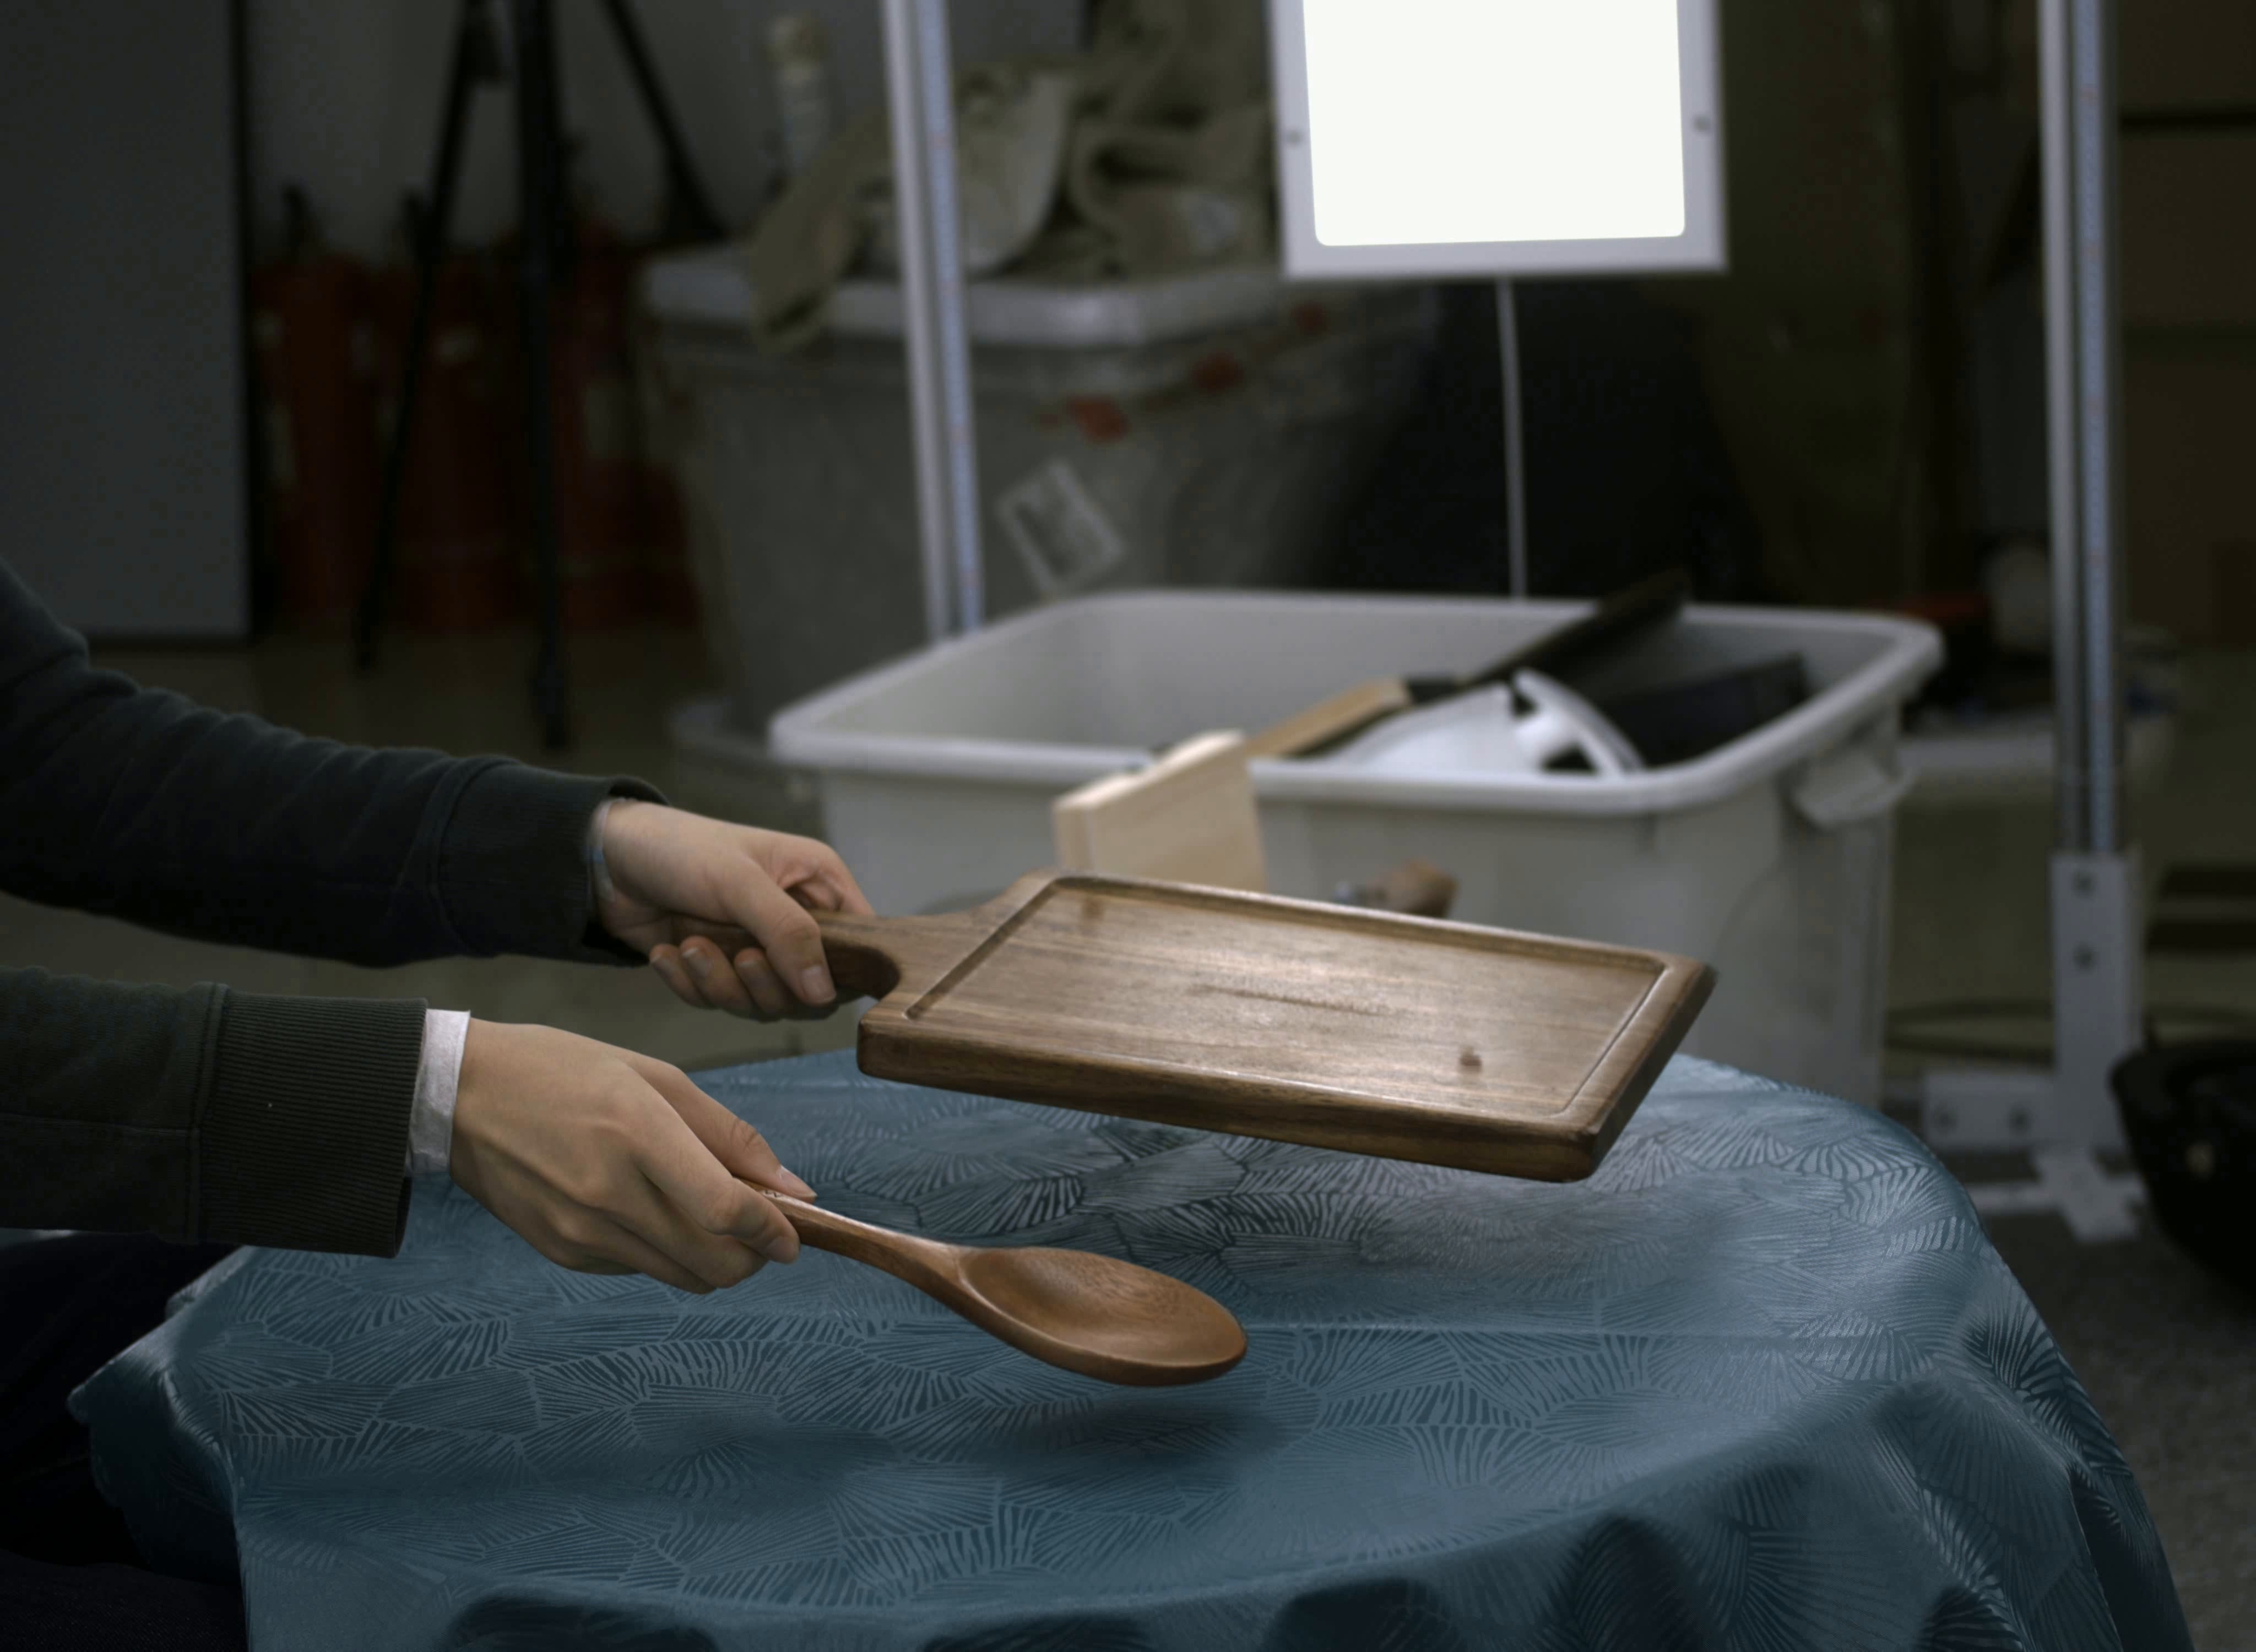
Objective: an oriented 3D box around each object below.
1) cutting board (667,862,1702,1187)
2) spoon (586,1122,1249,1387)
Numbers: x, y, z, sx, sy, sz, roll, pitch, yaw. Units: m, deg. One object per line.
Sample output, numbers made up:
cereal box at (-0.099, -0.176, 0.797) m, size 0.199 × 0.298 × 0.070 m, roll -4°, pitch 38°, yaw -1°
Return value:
cutting board at (0.009, 0.057, 1.879) m, size 0.356 × 0.023 × 0.198 m, roll 8°, pitch 19°, yaw 17°
spoon at (-0.066, 0.130, 1.681) m, size 0.217 × 0.017 × 0.074 m, roll 18°, pitch 23°, yaw 14°
